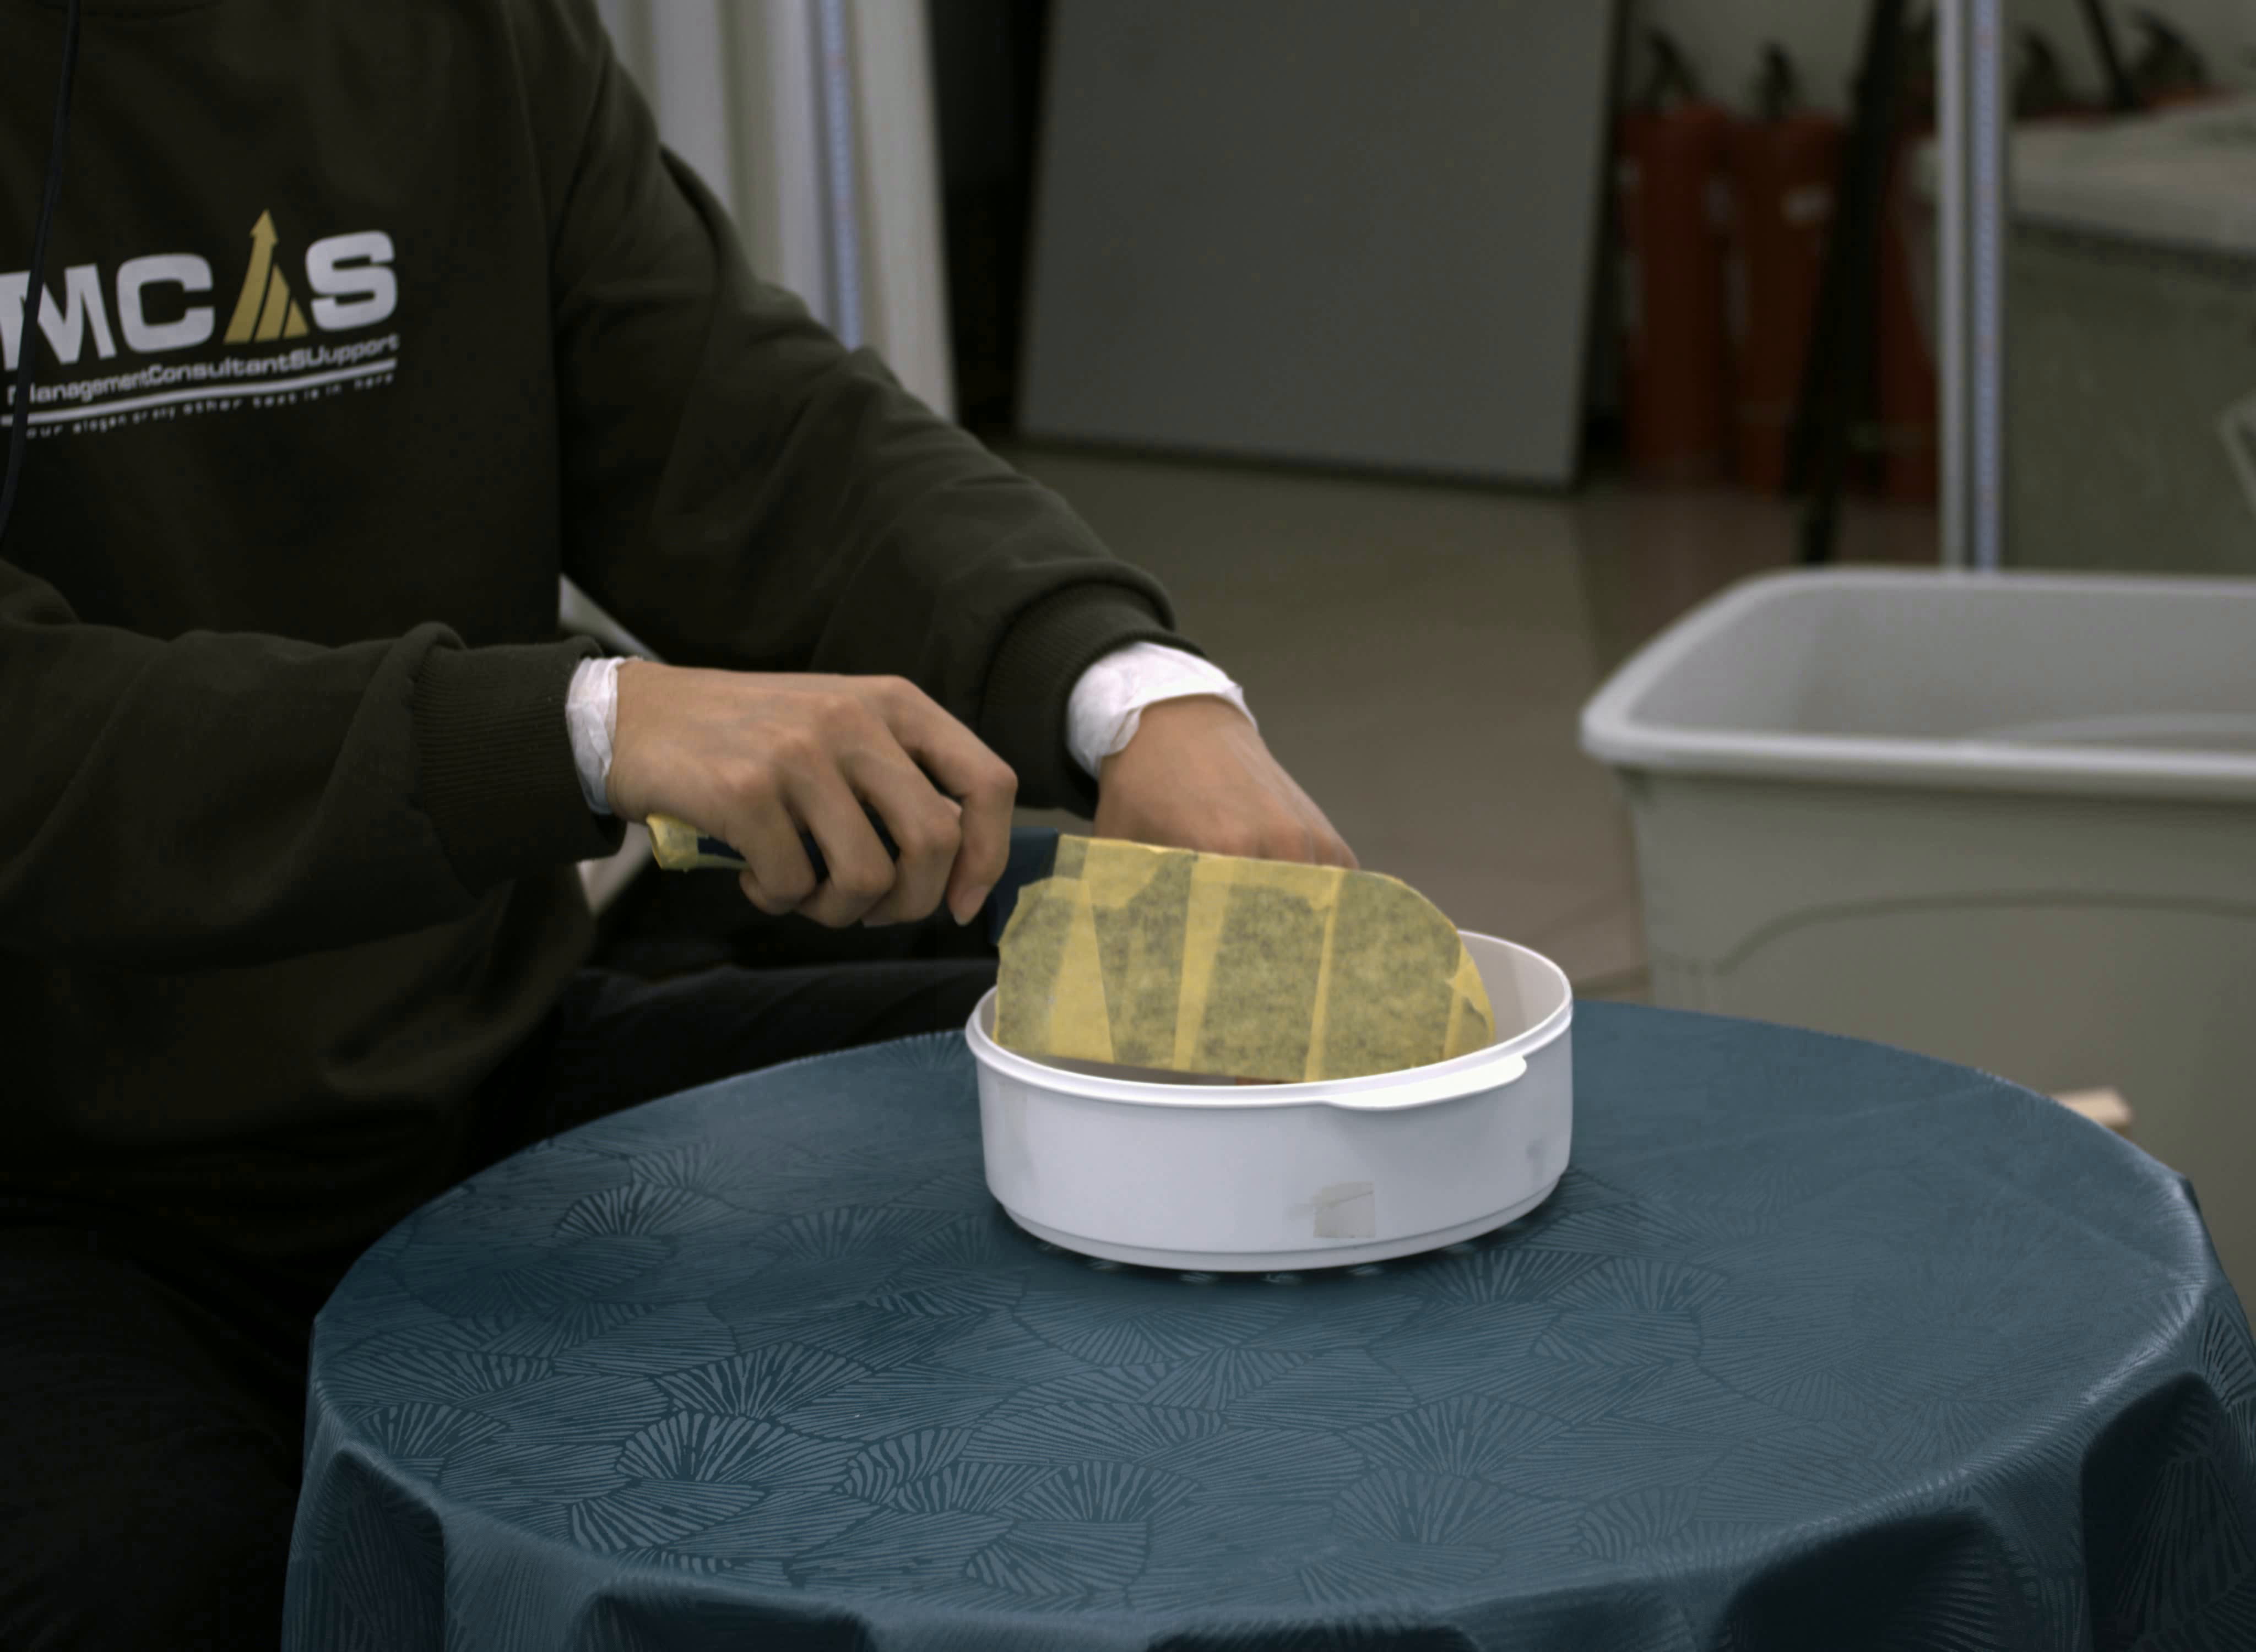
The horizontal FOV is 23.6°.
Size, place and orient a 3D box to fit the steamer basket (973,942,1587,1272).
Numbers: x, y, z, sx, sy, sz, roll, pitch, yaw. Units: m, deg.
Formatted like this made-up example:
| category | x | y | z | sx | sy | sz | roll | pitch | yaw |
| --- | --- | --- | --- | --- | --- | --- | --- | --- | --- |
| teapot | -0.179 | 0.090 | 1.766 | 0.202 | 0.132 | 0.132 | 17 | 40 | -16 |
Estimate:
| category | x | y | z | sx | sy | sz | roll | pitch | yaw |
| --- | --- | --- | --- | --- | --- | --- | --- | --- | --- |
| steamer basket | 0.051 | 0.090 | 1.747 | 0.197 | 0.070 | 0.233 | -10 | 13 | -26 |

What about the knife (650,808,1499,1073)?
| category | x | y | z | sx | sy | sz | roll | pitch | yaw |
| --- | --- | --- | --- | --- | --- | --- | --- | --- | --- |
| knife | -0.016 | 0.039 | 1.759 | 0.285 | 0.082 | 0.027 | 10 | -2 | -5 |
